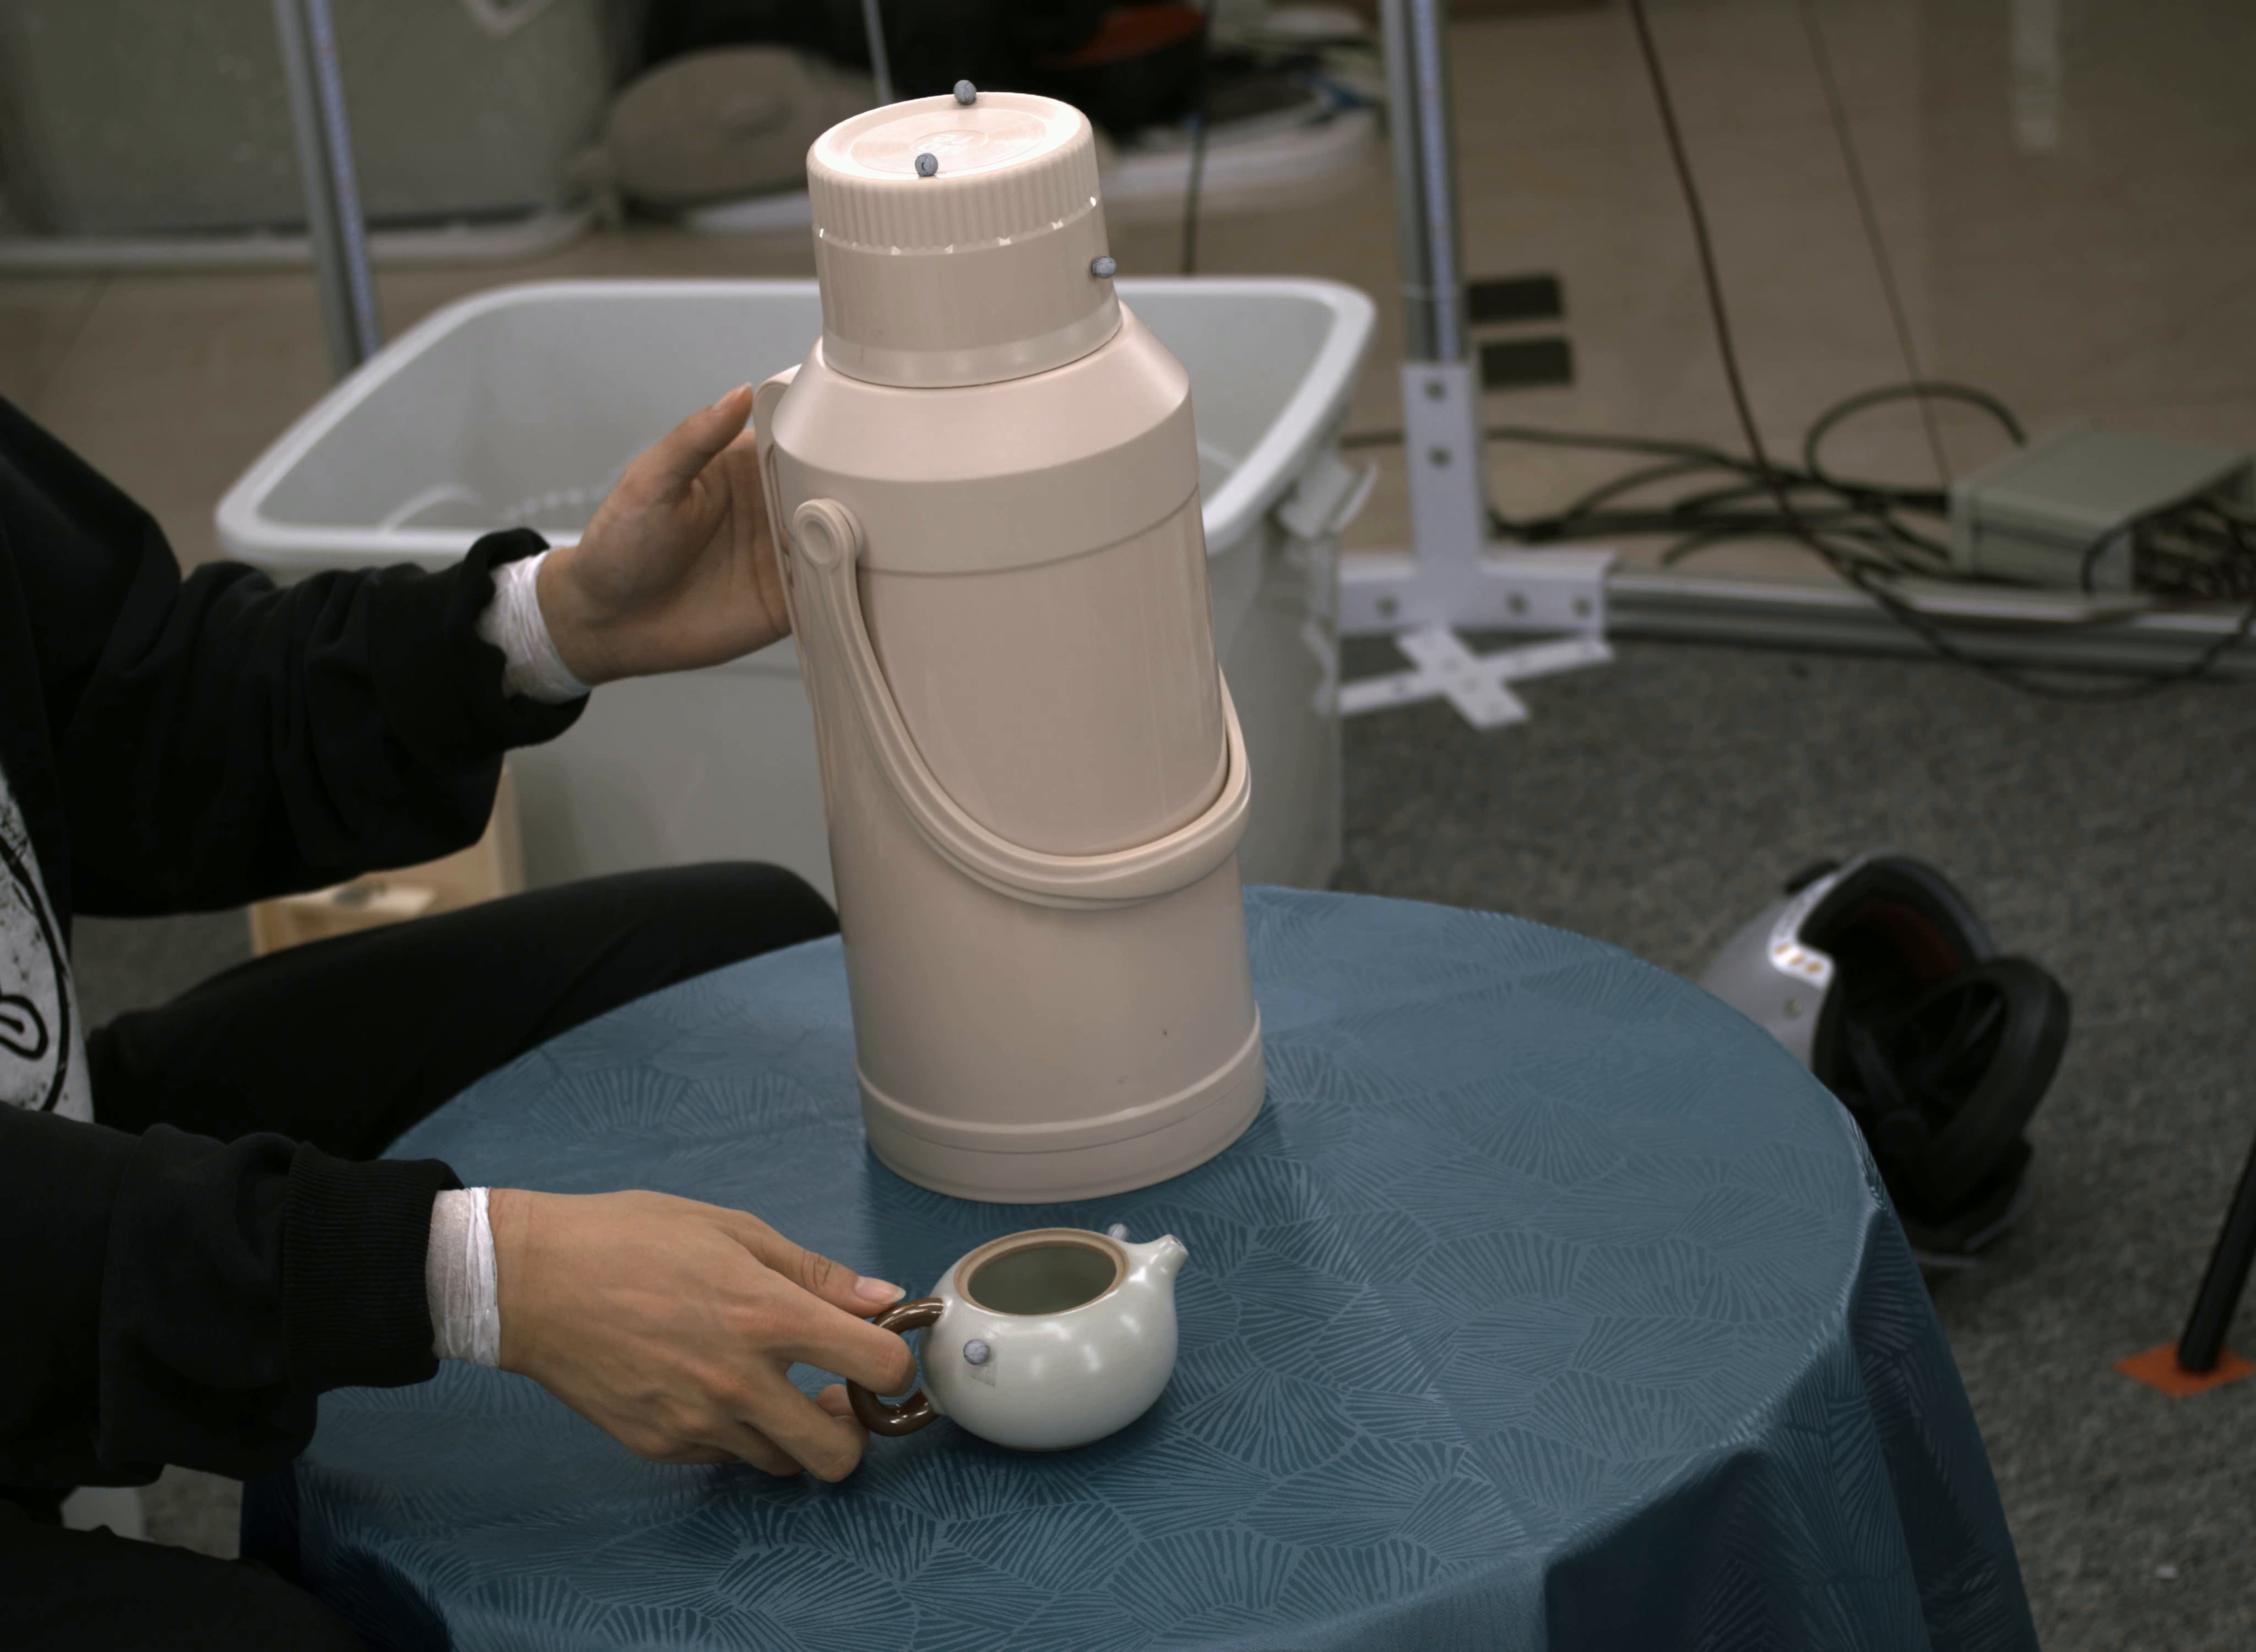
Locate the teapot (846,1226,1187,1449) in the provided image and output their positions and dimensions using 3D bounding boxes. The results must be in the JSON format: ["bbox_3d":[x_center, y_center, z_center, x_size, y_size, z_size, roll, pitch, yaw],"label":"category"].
[{"bbox_3d":[-0.038,0.182,1.996,0.127,0.060,0.090,-13,29,-16],"label":"teapot"}]

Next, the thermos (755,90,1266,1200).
[{"bbox_3d":[-0.054,-0.073,2.140,0.205,0.413,0.173,18,37,40],"label":"thermos"}]
